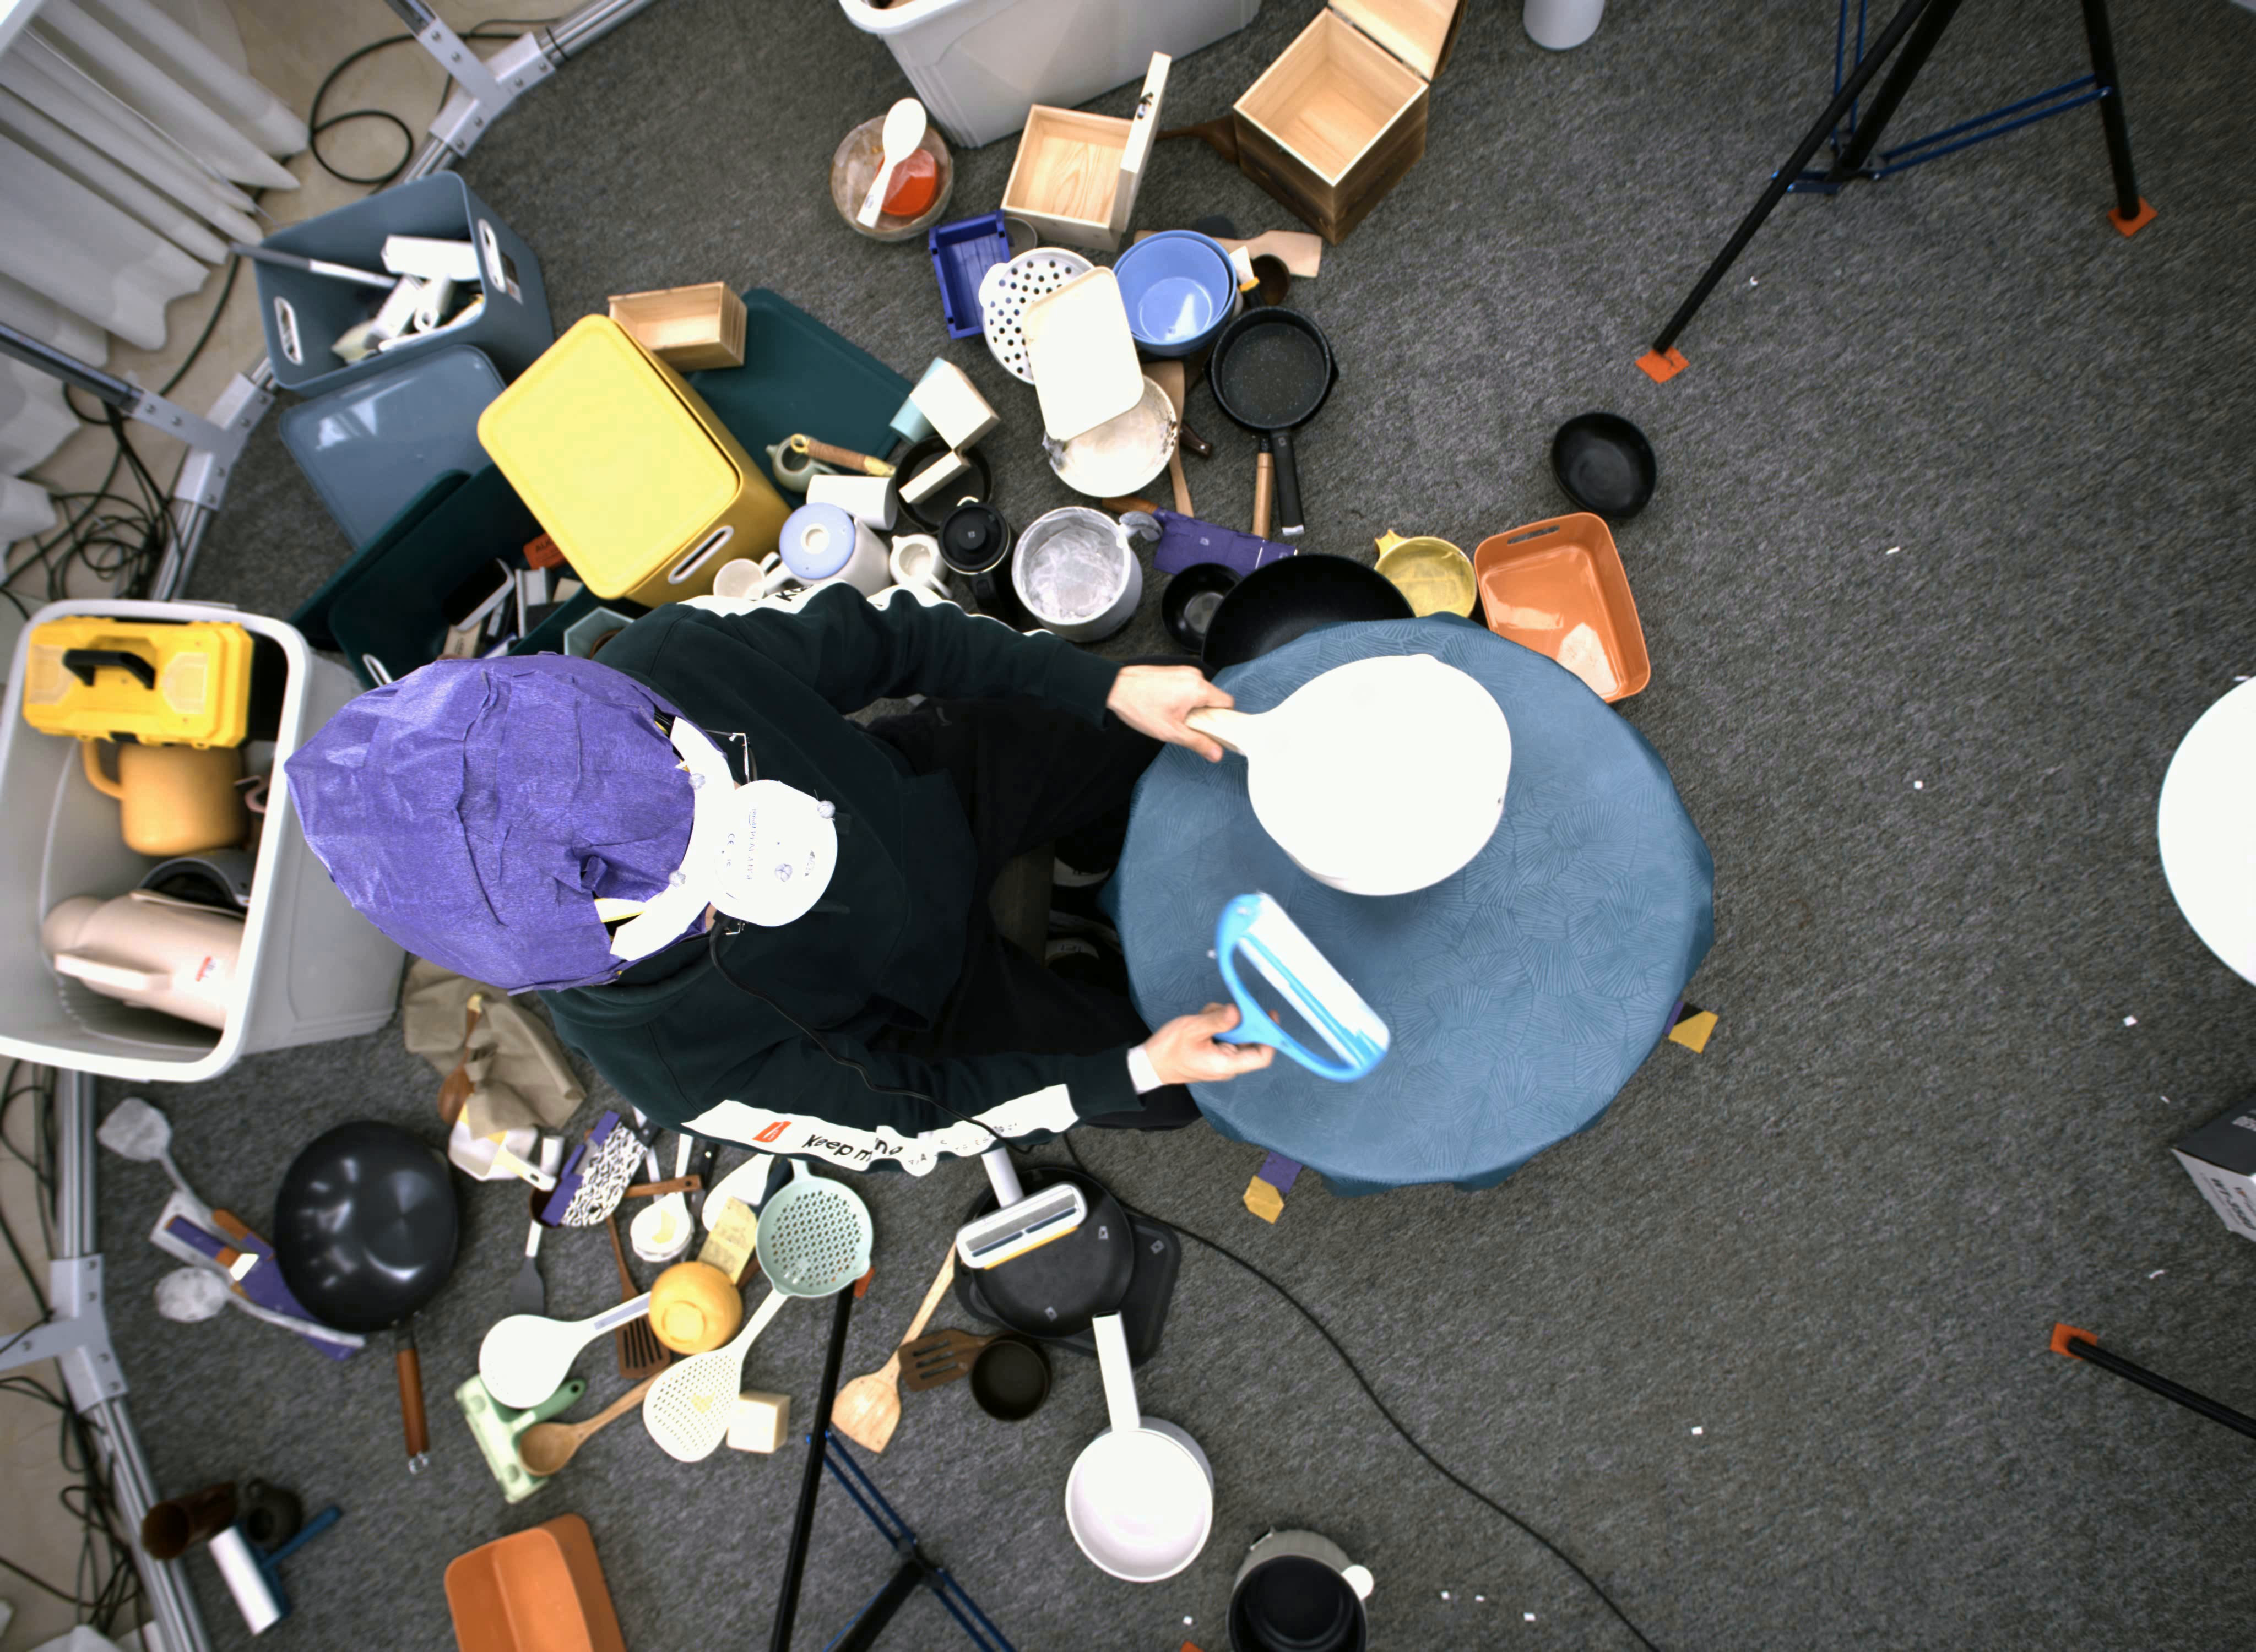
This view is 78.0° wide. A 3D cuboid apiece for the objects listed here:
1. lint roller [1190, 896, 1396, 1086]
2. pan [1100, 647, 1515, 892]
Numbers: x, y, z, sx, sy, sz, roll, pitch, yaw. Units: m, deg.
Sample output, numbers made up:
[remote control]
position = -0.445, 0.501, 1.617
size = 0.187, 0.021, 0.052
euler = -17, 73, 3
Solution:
[lint roller]
position = 0.133, 0.180, 1.331
size = 0.183, 0.066, 0.231
euler = -32, 114, 28
[pan]
position = 0.175, -0.072, 1.386
size = 0.435, 0.103, 0.259
euler = 15, 70, 30
